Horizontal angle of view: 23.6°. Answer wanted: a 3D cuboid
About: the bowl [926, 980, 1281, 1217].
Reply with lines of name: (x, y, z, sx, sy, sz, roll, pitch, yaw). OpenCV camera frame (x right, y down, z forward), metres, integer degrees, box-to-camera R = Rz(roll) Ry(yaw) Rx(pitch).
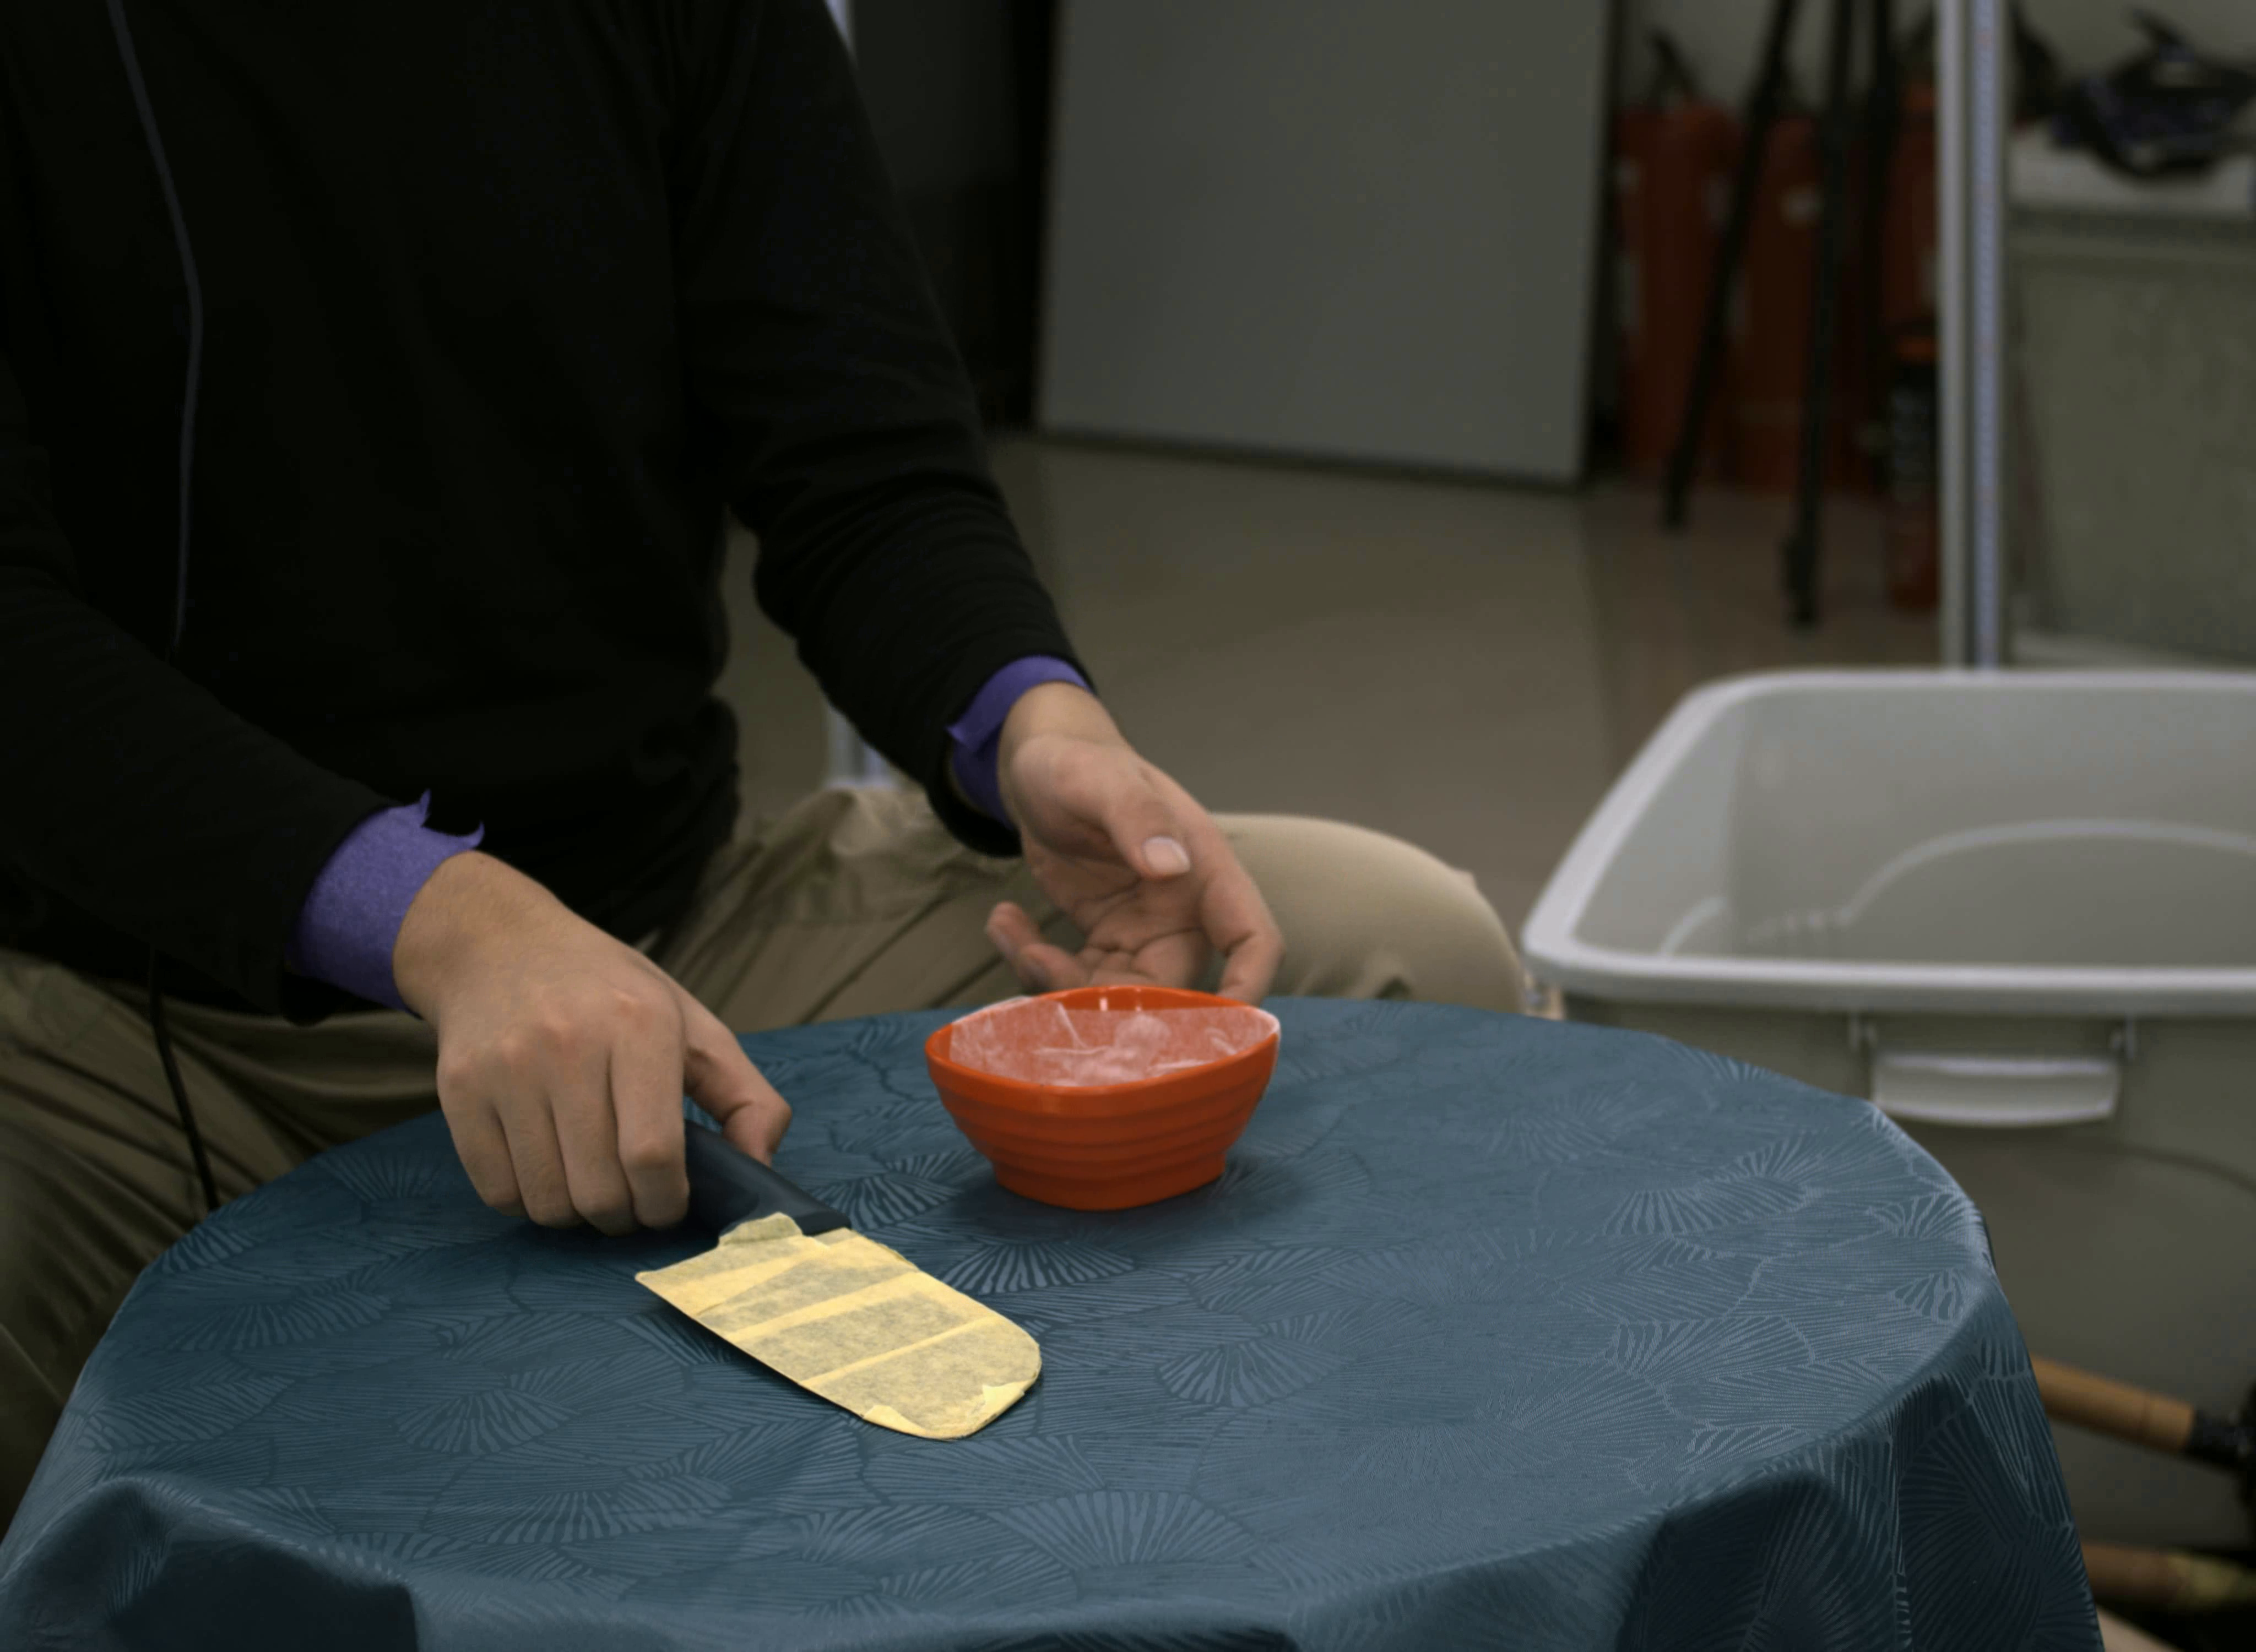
bowl: (-0.006, 0.092, 1.784, 0.117, 0.052, 0.119, -5, 15, 0)

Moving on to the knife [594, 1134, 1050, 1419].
knife: (-0.109, 0.142, 1.690, 0.079, 0.027, 0.292, -11, 17, -27)
